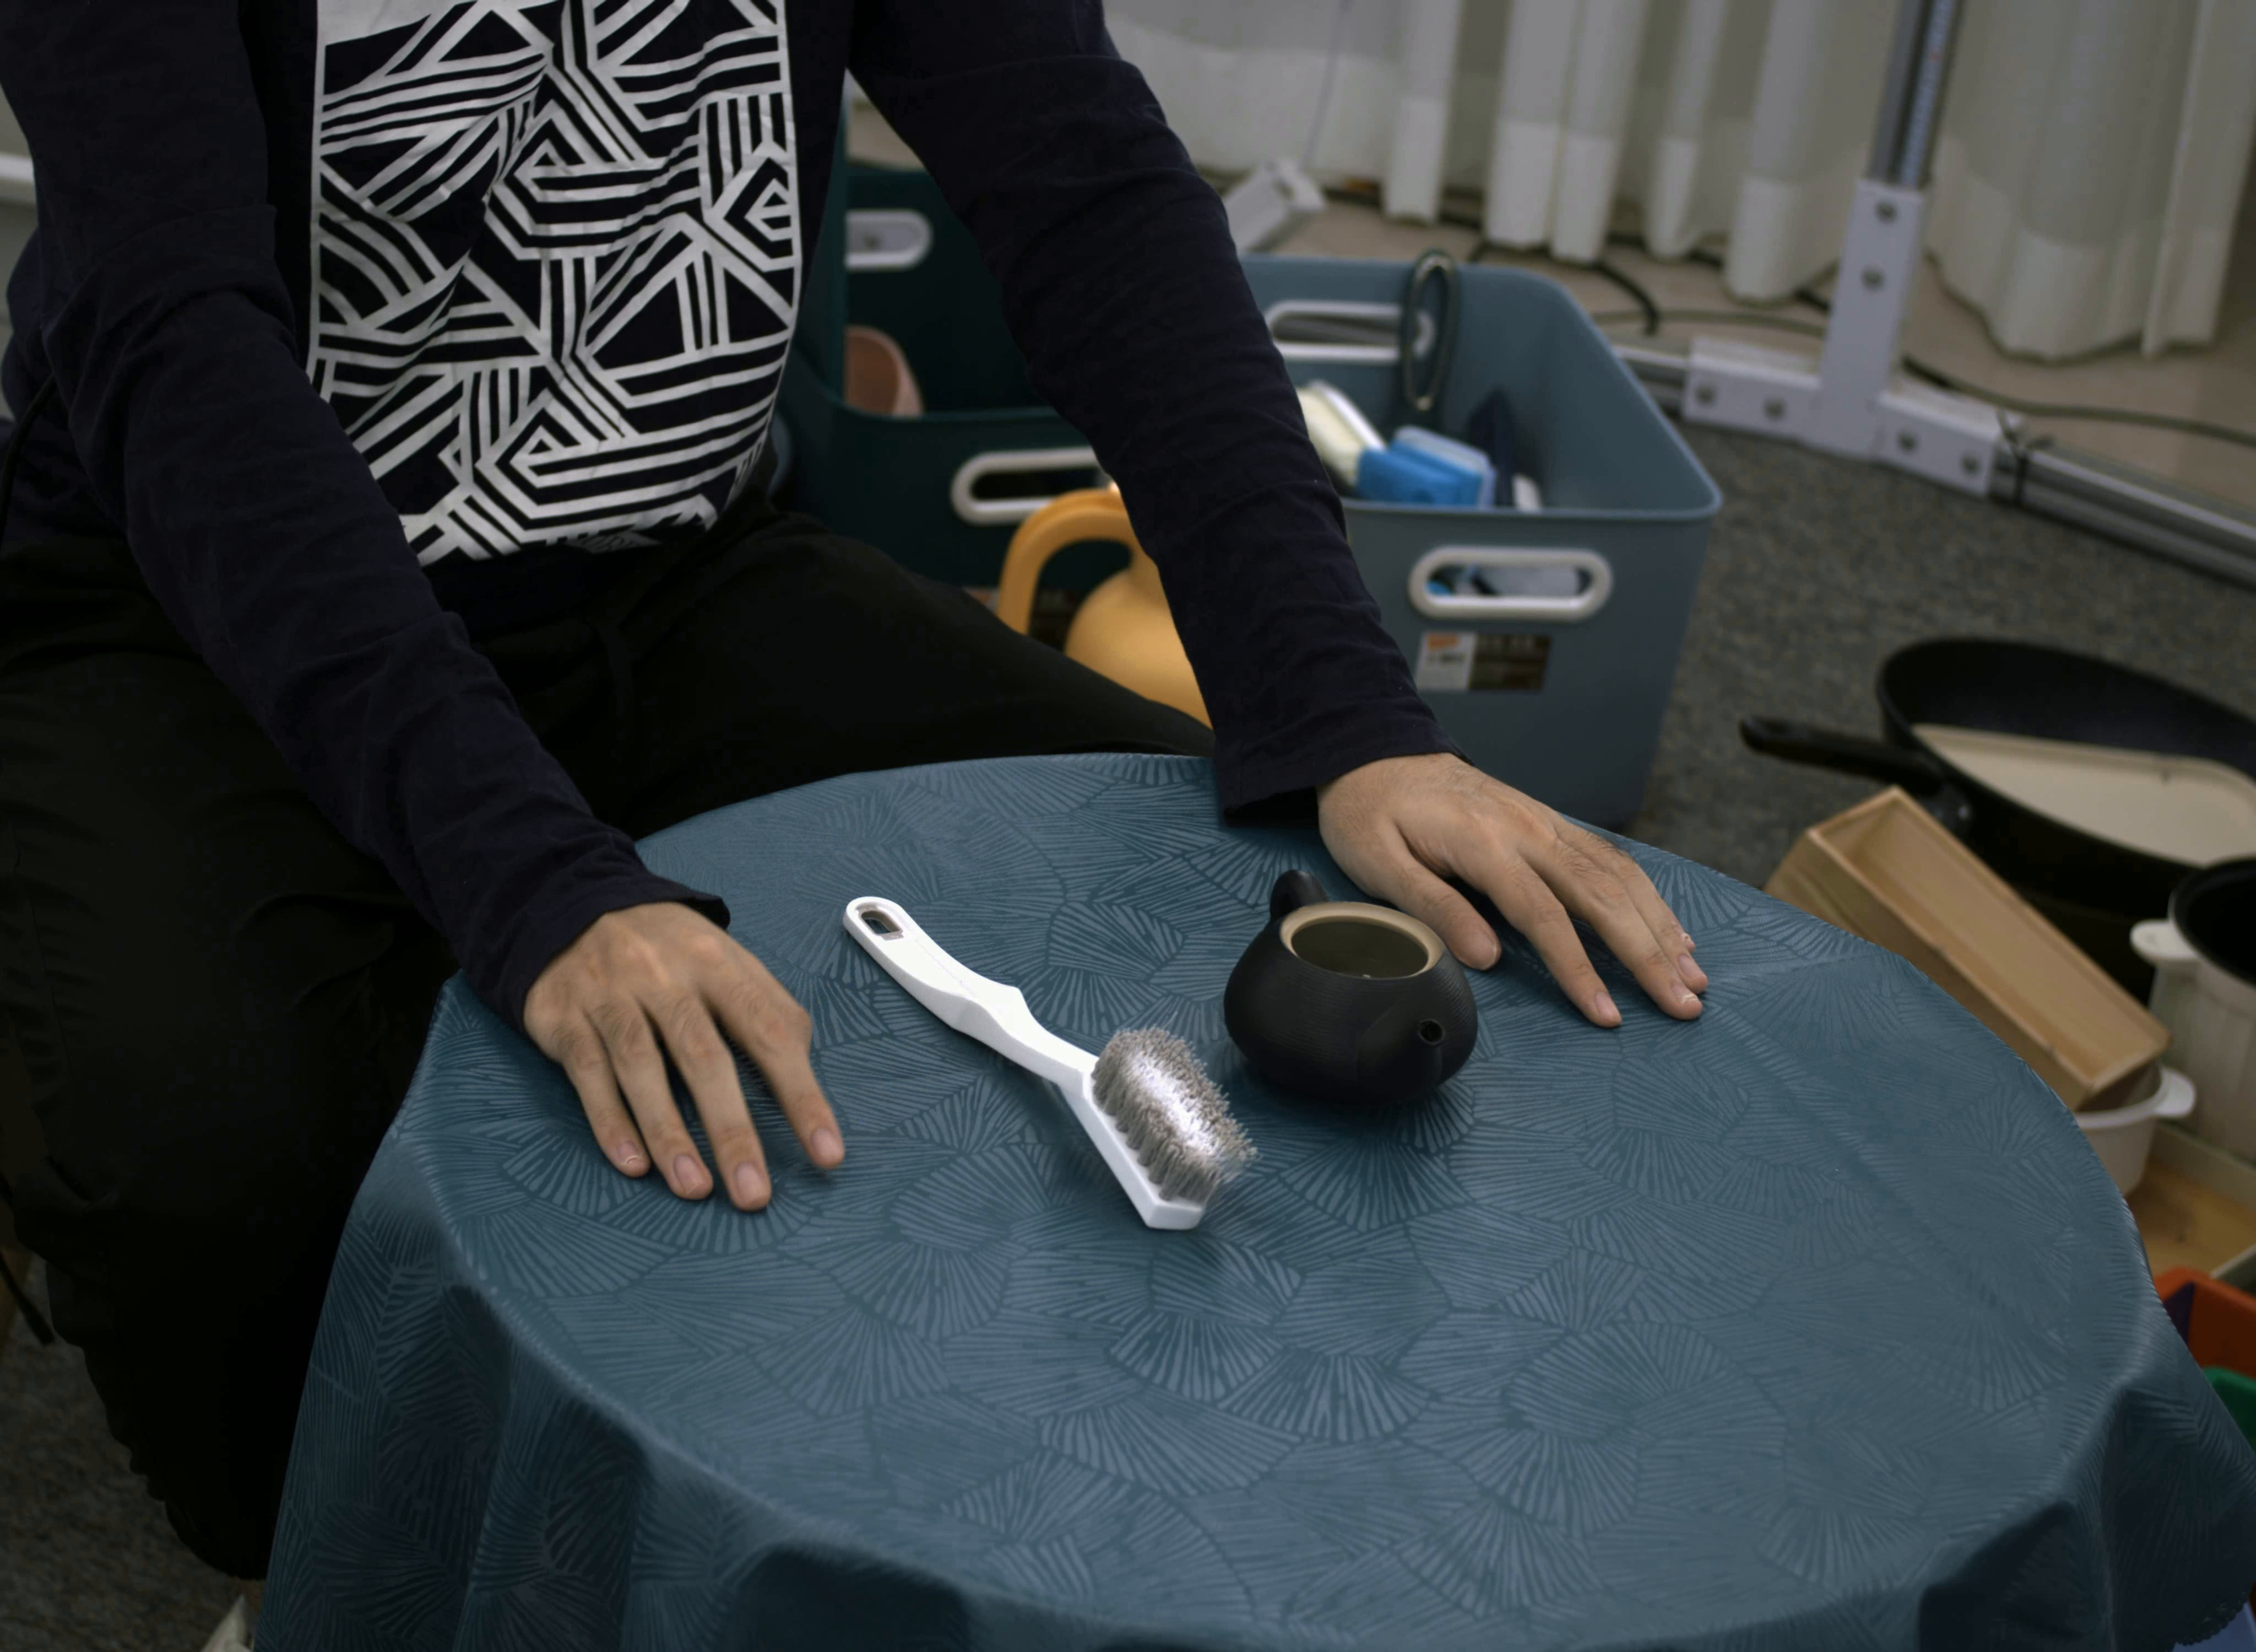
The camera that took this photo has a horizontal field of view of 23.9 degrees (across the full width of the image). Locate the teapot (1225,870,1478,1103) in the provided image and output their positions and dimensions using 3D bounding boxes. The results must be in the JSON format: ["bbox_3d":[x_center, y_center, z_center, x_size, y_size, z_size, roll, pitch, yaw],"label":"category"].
[{"bbox_3d":[0.080,0.063,1.886,0.090,0.053,0.134,-2,28,-23],"label":"teapot"}]

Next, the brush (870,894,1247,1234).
[{"bbox_3d":[-0.029,0.066,1.862,0.034,0.050,0.246,-10,32,-26],"label":"brush"}]
